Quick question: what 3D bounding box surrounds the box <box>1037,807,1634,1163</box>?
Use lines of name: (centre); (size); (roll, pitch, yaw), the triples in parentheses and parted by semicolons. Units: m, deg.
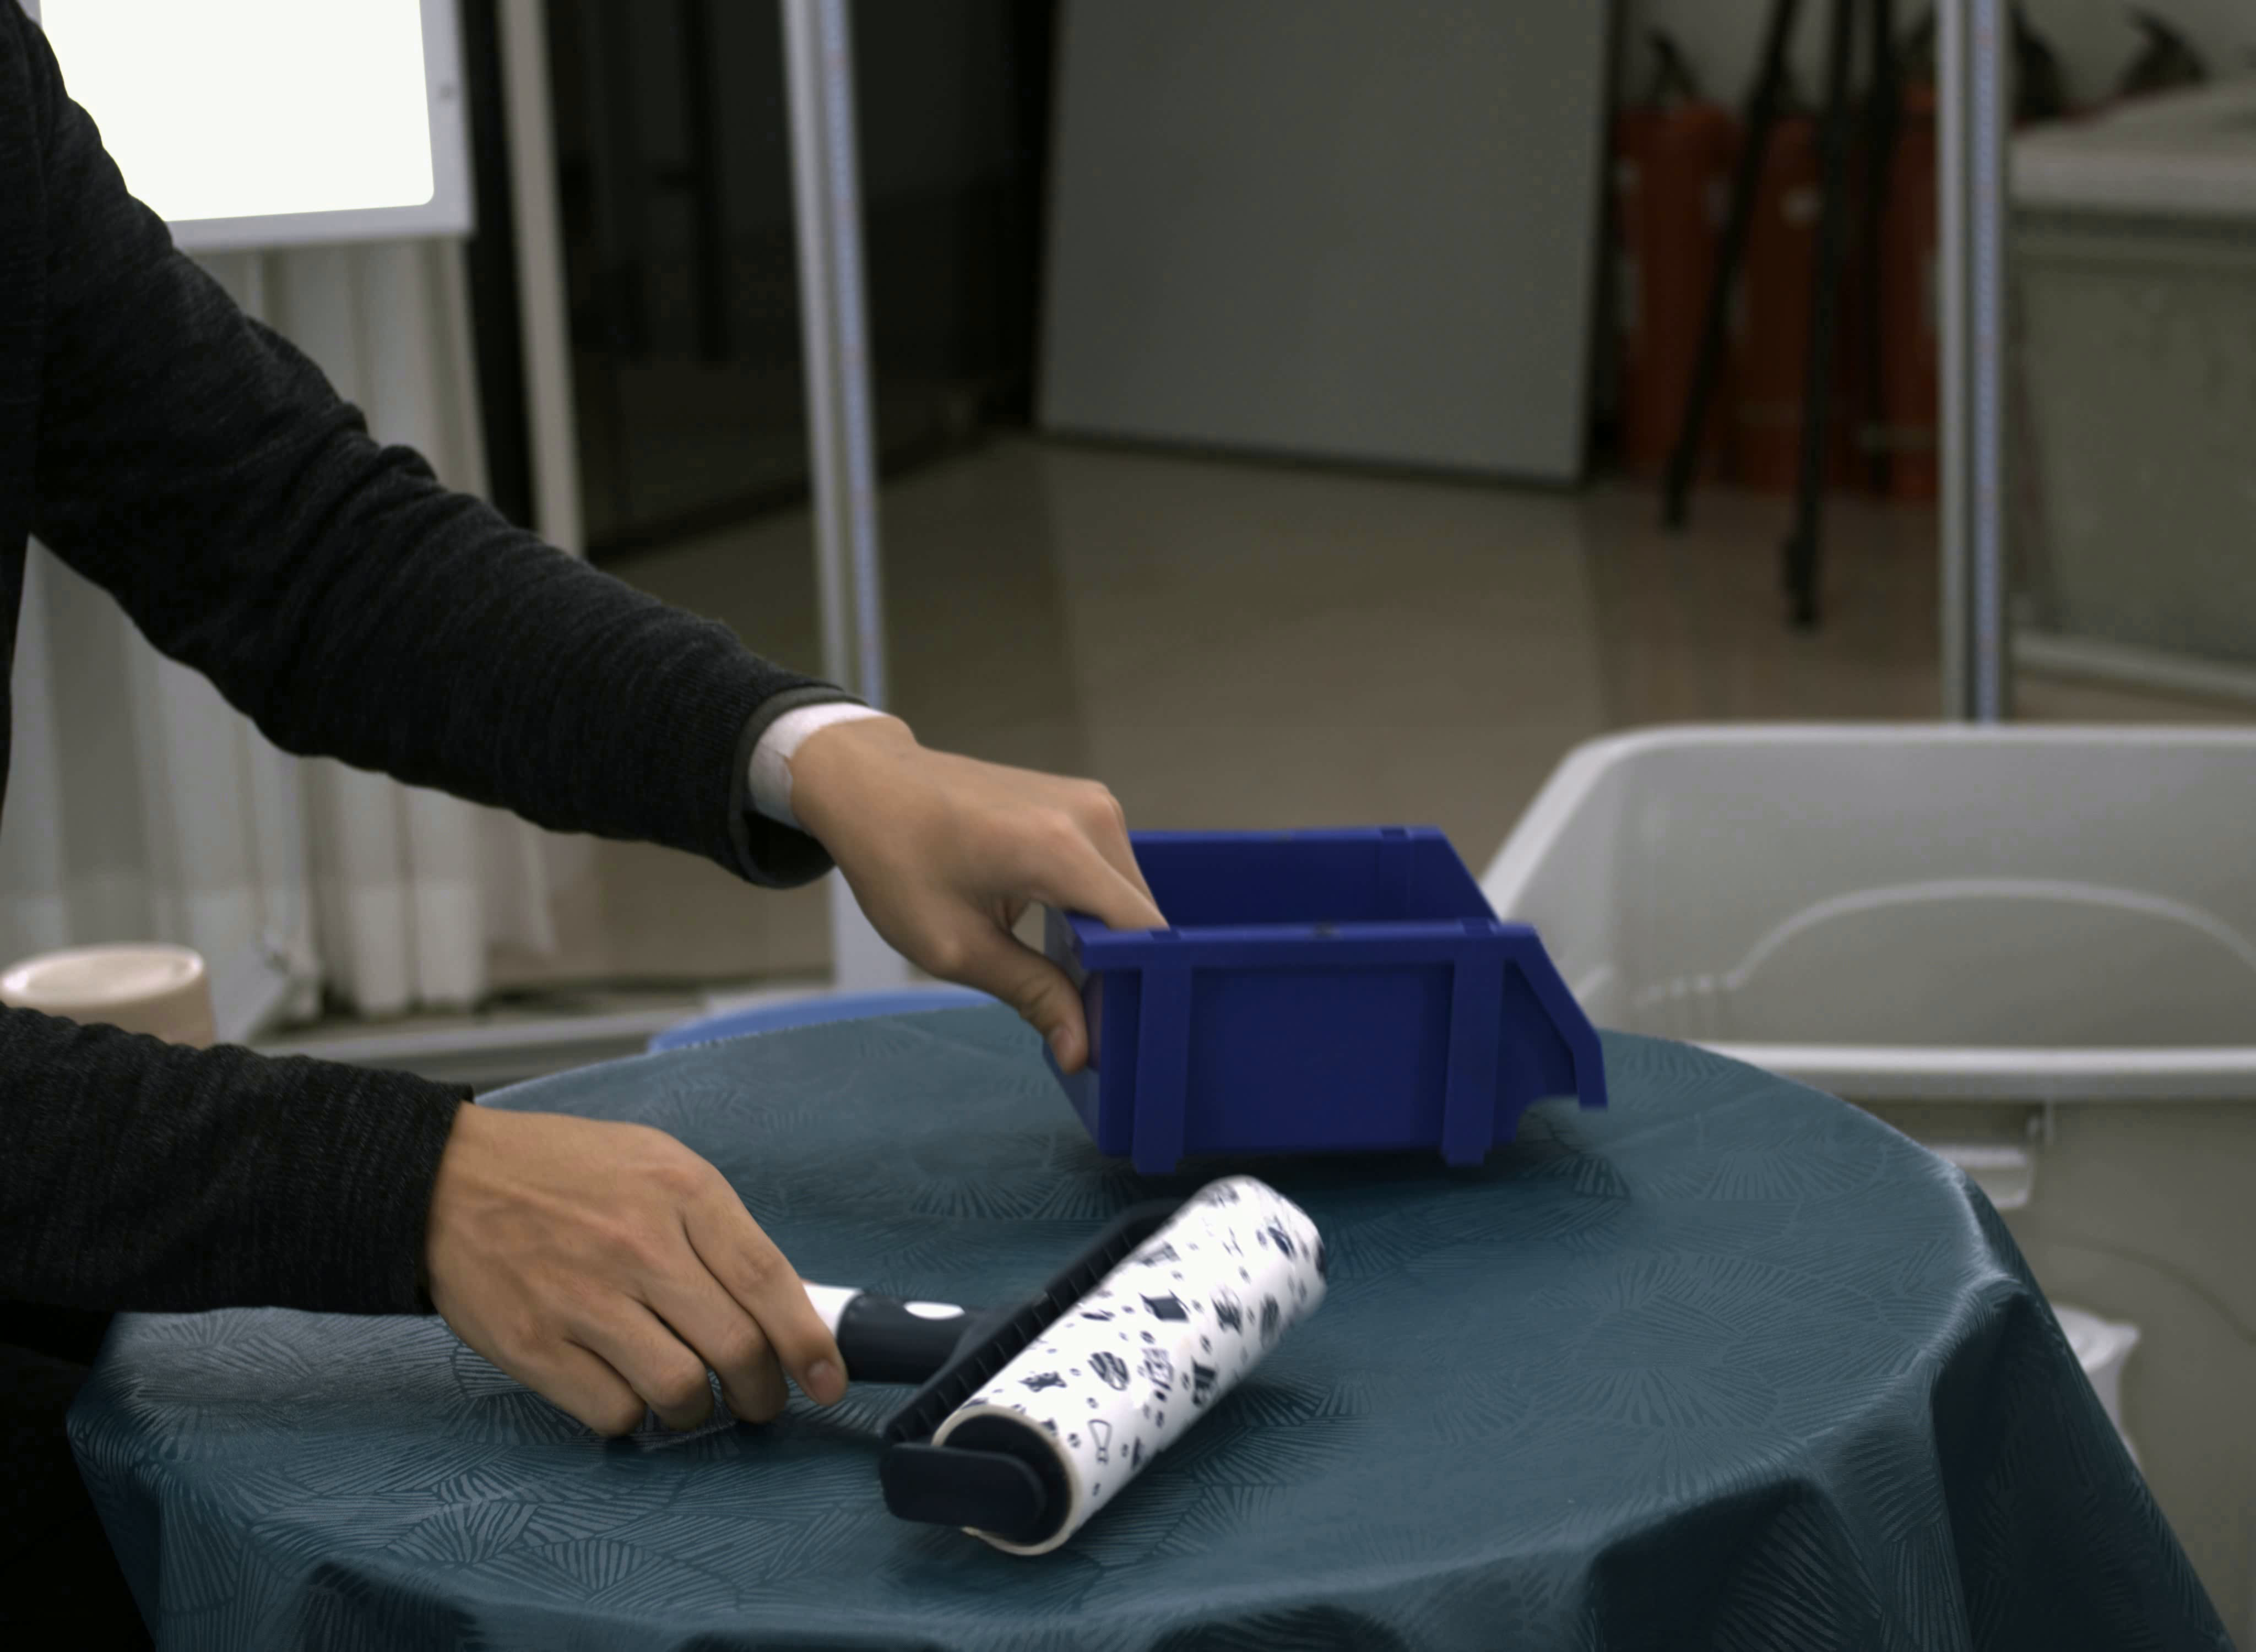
box: (0.067, 0.050, 1.782); (0.176, 0.083, 0.125); (-4, 15, -9)

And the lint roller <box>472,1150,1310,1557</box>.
lint roller: (-0.089, 0.144, 1.566); (0.248, 0.051, 0.174); (3, 24, 28)
